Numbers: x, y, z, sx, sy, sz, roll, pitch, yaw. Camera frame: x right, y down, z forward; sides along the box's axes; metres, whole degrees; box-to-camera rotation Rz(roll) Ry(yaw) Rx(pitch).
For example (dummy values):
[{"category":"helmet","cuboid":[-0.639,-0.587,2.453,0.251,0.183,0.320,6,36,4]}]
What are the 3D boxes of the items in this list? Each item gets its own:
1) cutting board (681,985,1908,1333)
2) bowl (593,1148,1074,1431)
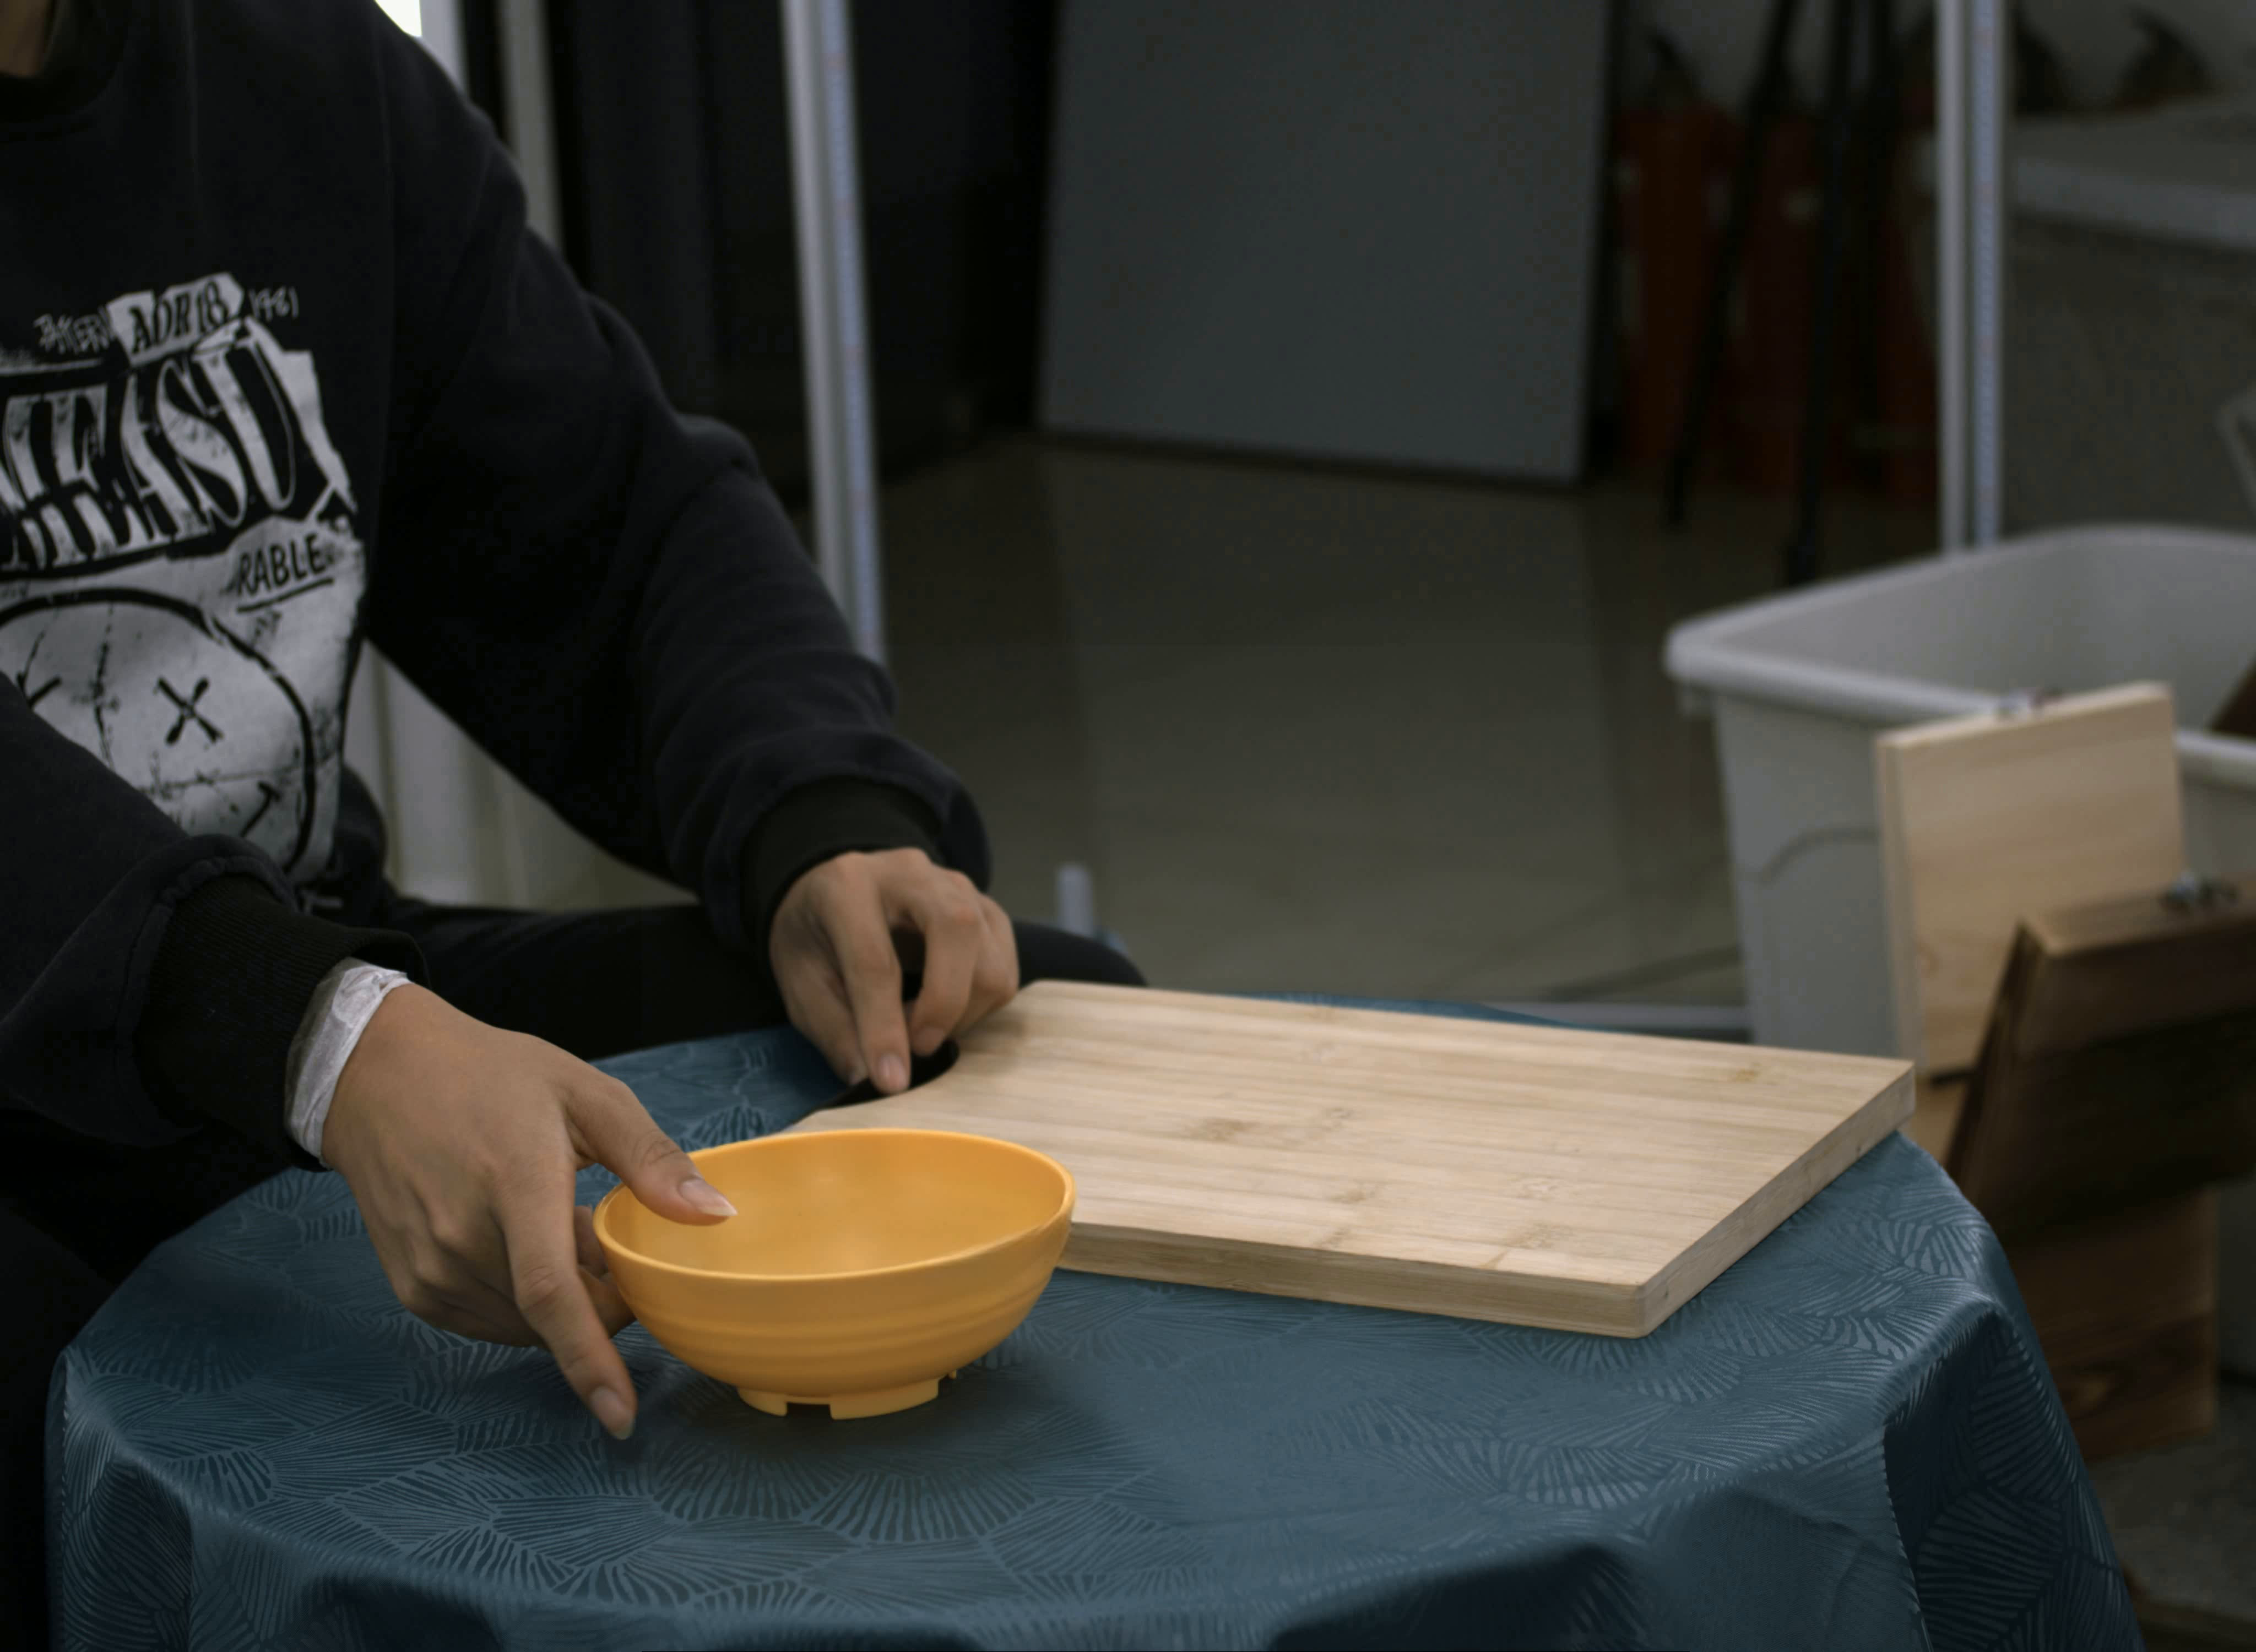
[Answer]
[{"category":"cutting board","cuboid":[0.057,0.106,1.784,0.349,0.024,0.247,3,15,28]},{"category":"bowl","cuboid":[-0.085,0.141,1.601,0.143,0.061,0.145,-4,11,0]}]
